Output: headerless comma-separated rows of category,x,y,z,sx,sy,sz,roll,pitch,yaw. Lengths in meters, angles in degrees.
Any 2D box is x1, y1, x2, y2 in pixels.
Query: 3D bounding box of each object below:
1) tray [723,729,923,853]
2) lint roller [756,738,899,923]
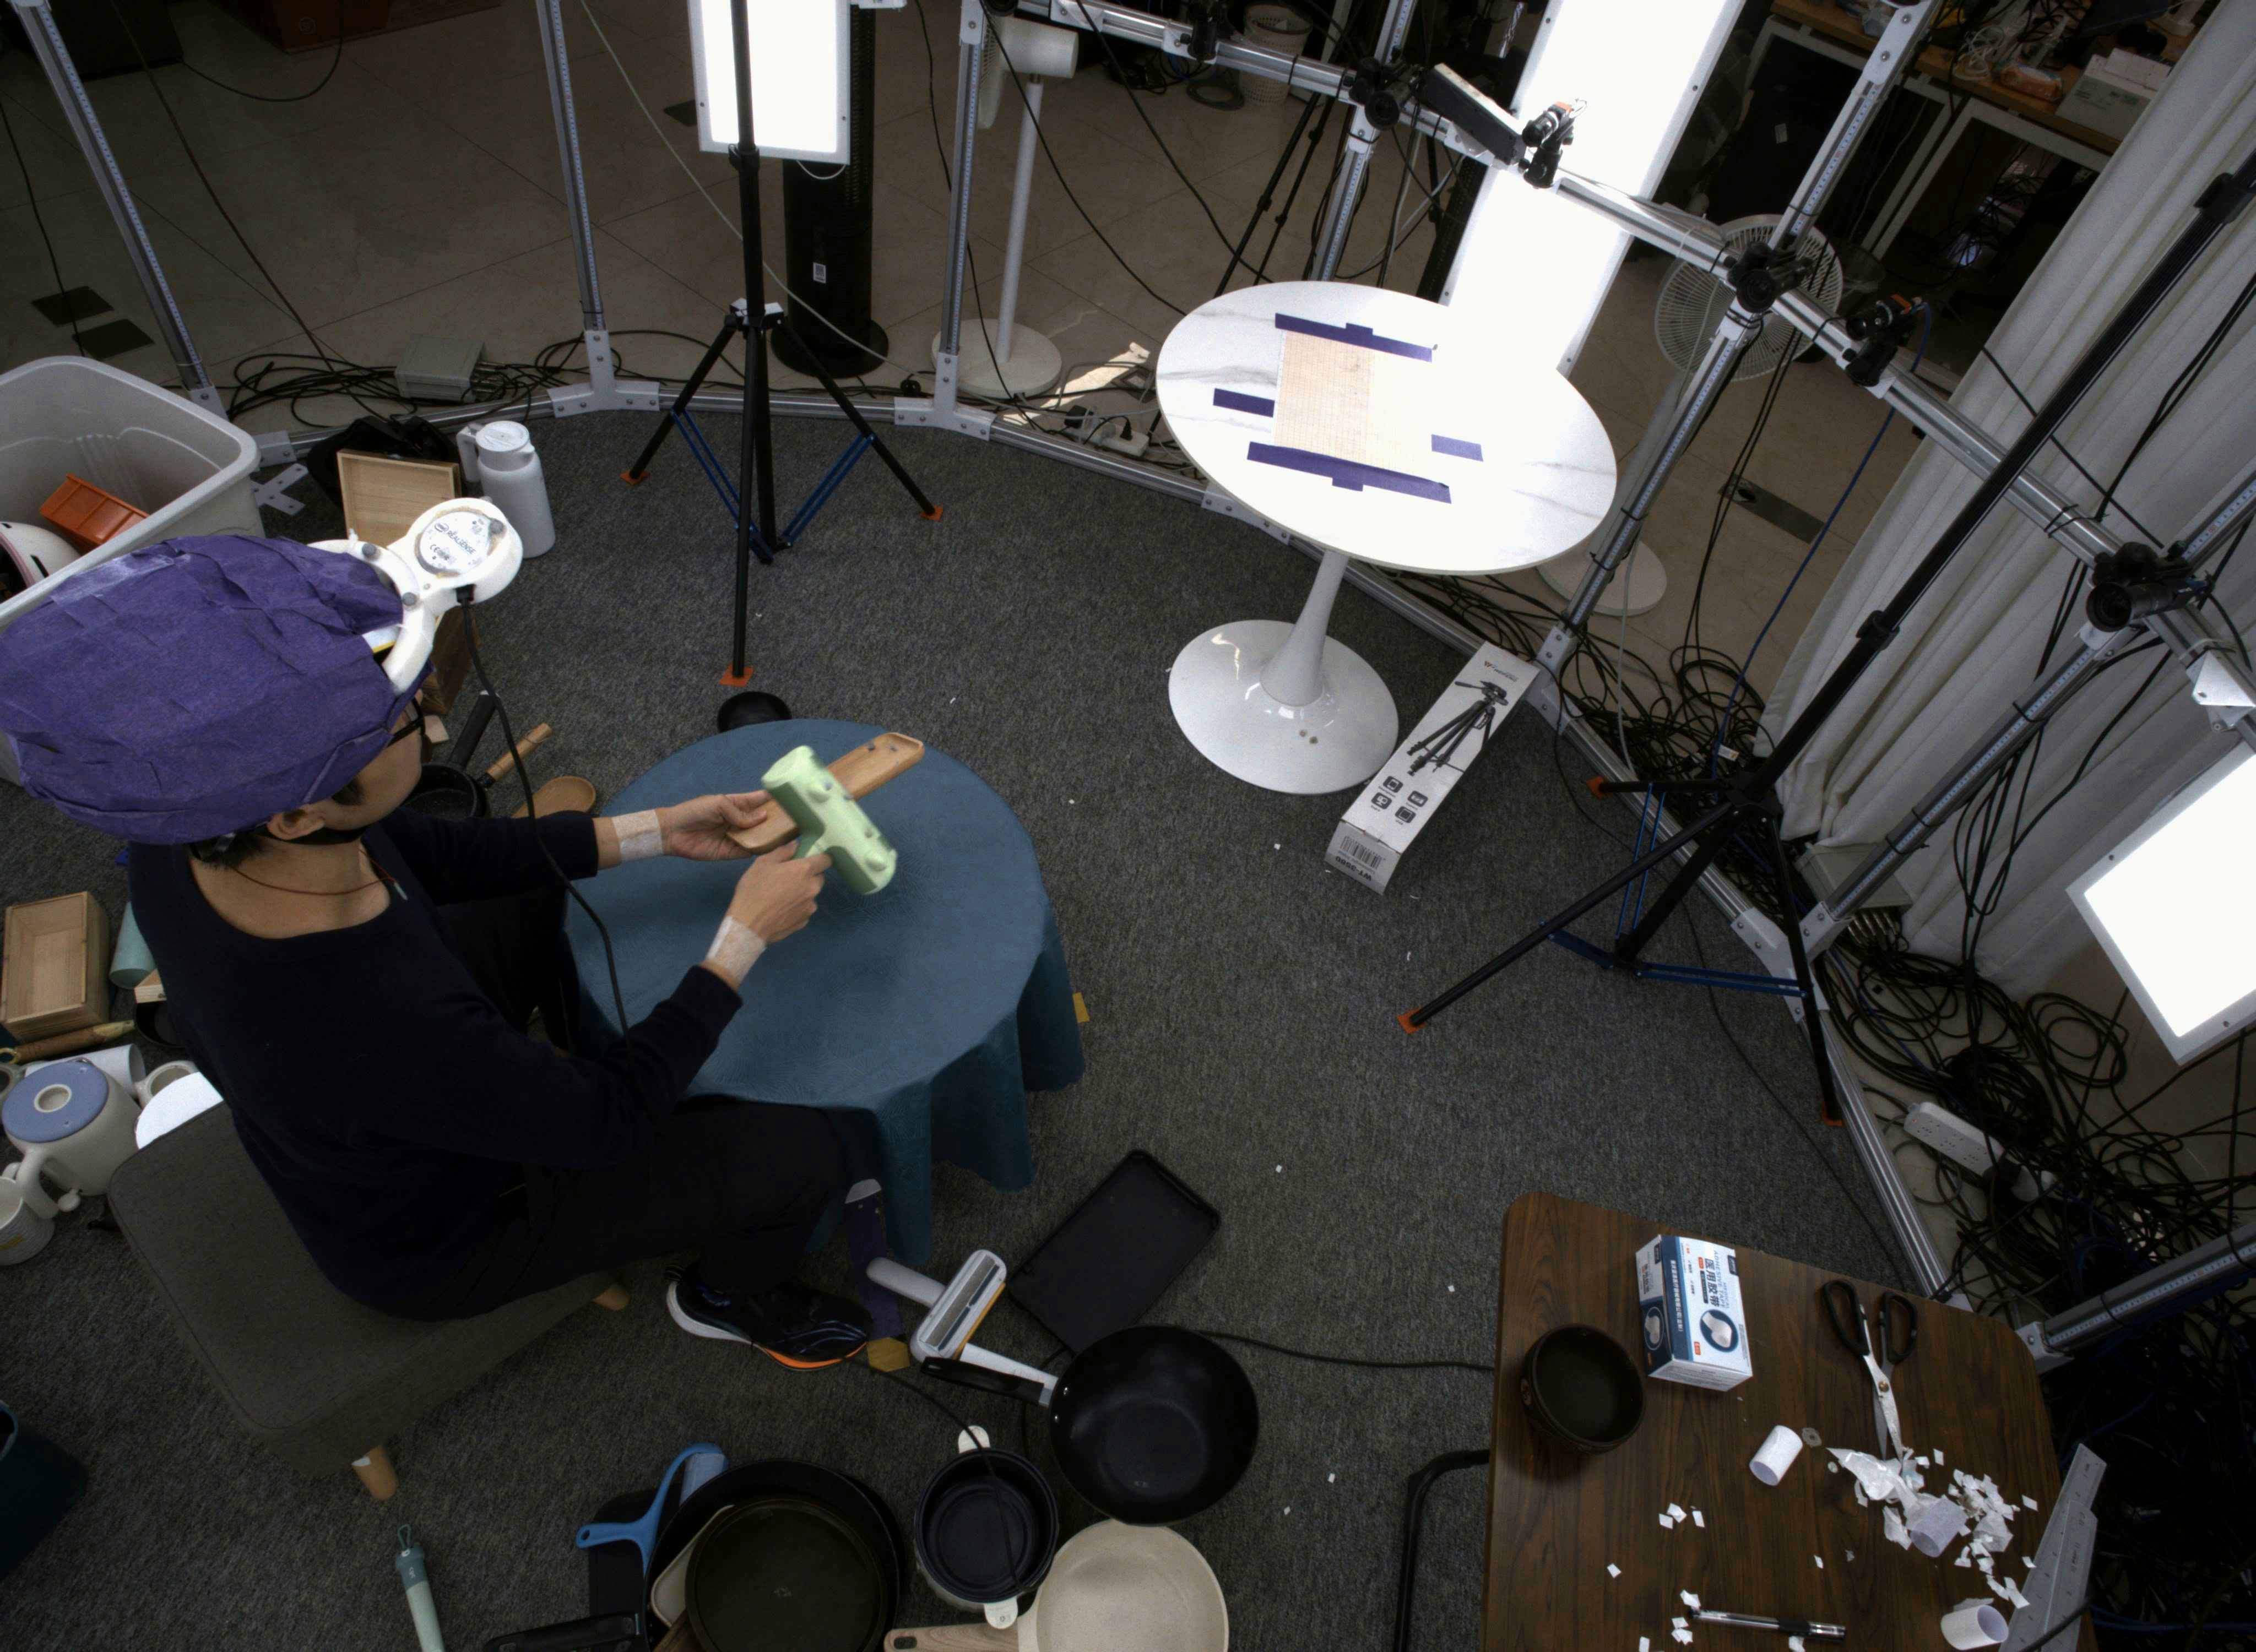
tray,-0.367,-0.045,1.568,0.251,0.023,0.126,-35,26,-24
lint roller,-0.349,0.031,1.455,0.080,0.206,0.181,-7,44,32
